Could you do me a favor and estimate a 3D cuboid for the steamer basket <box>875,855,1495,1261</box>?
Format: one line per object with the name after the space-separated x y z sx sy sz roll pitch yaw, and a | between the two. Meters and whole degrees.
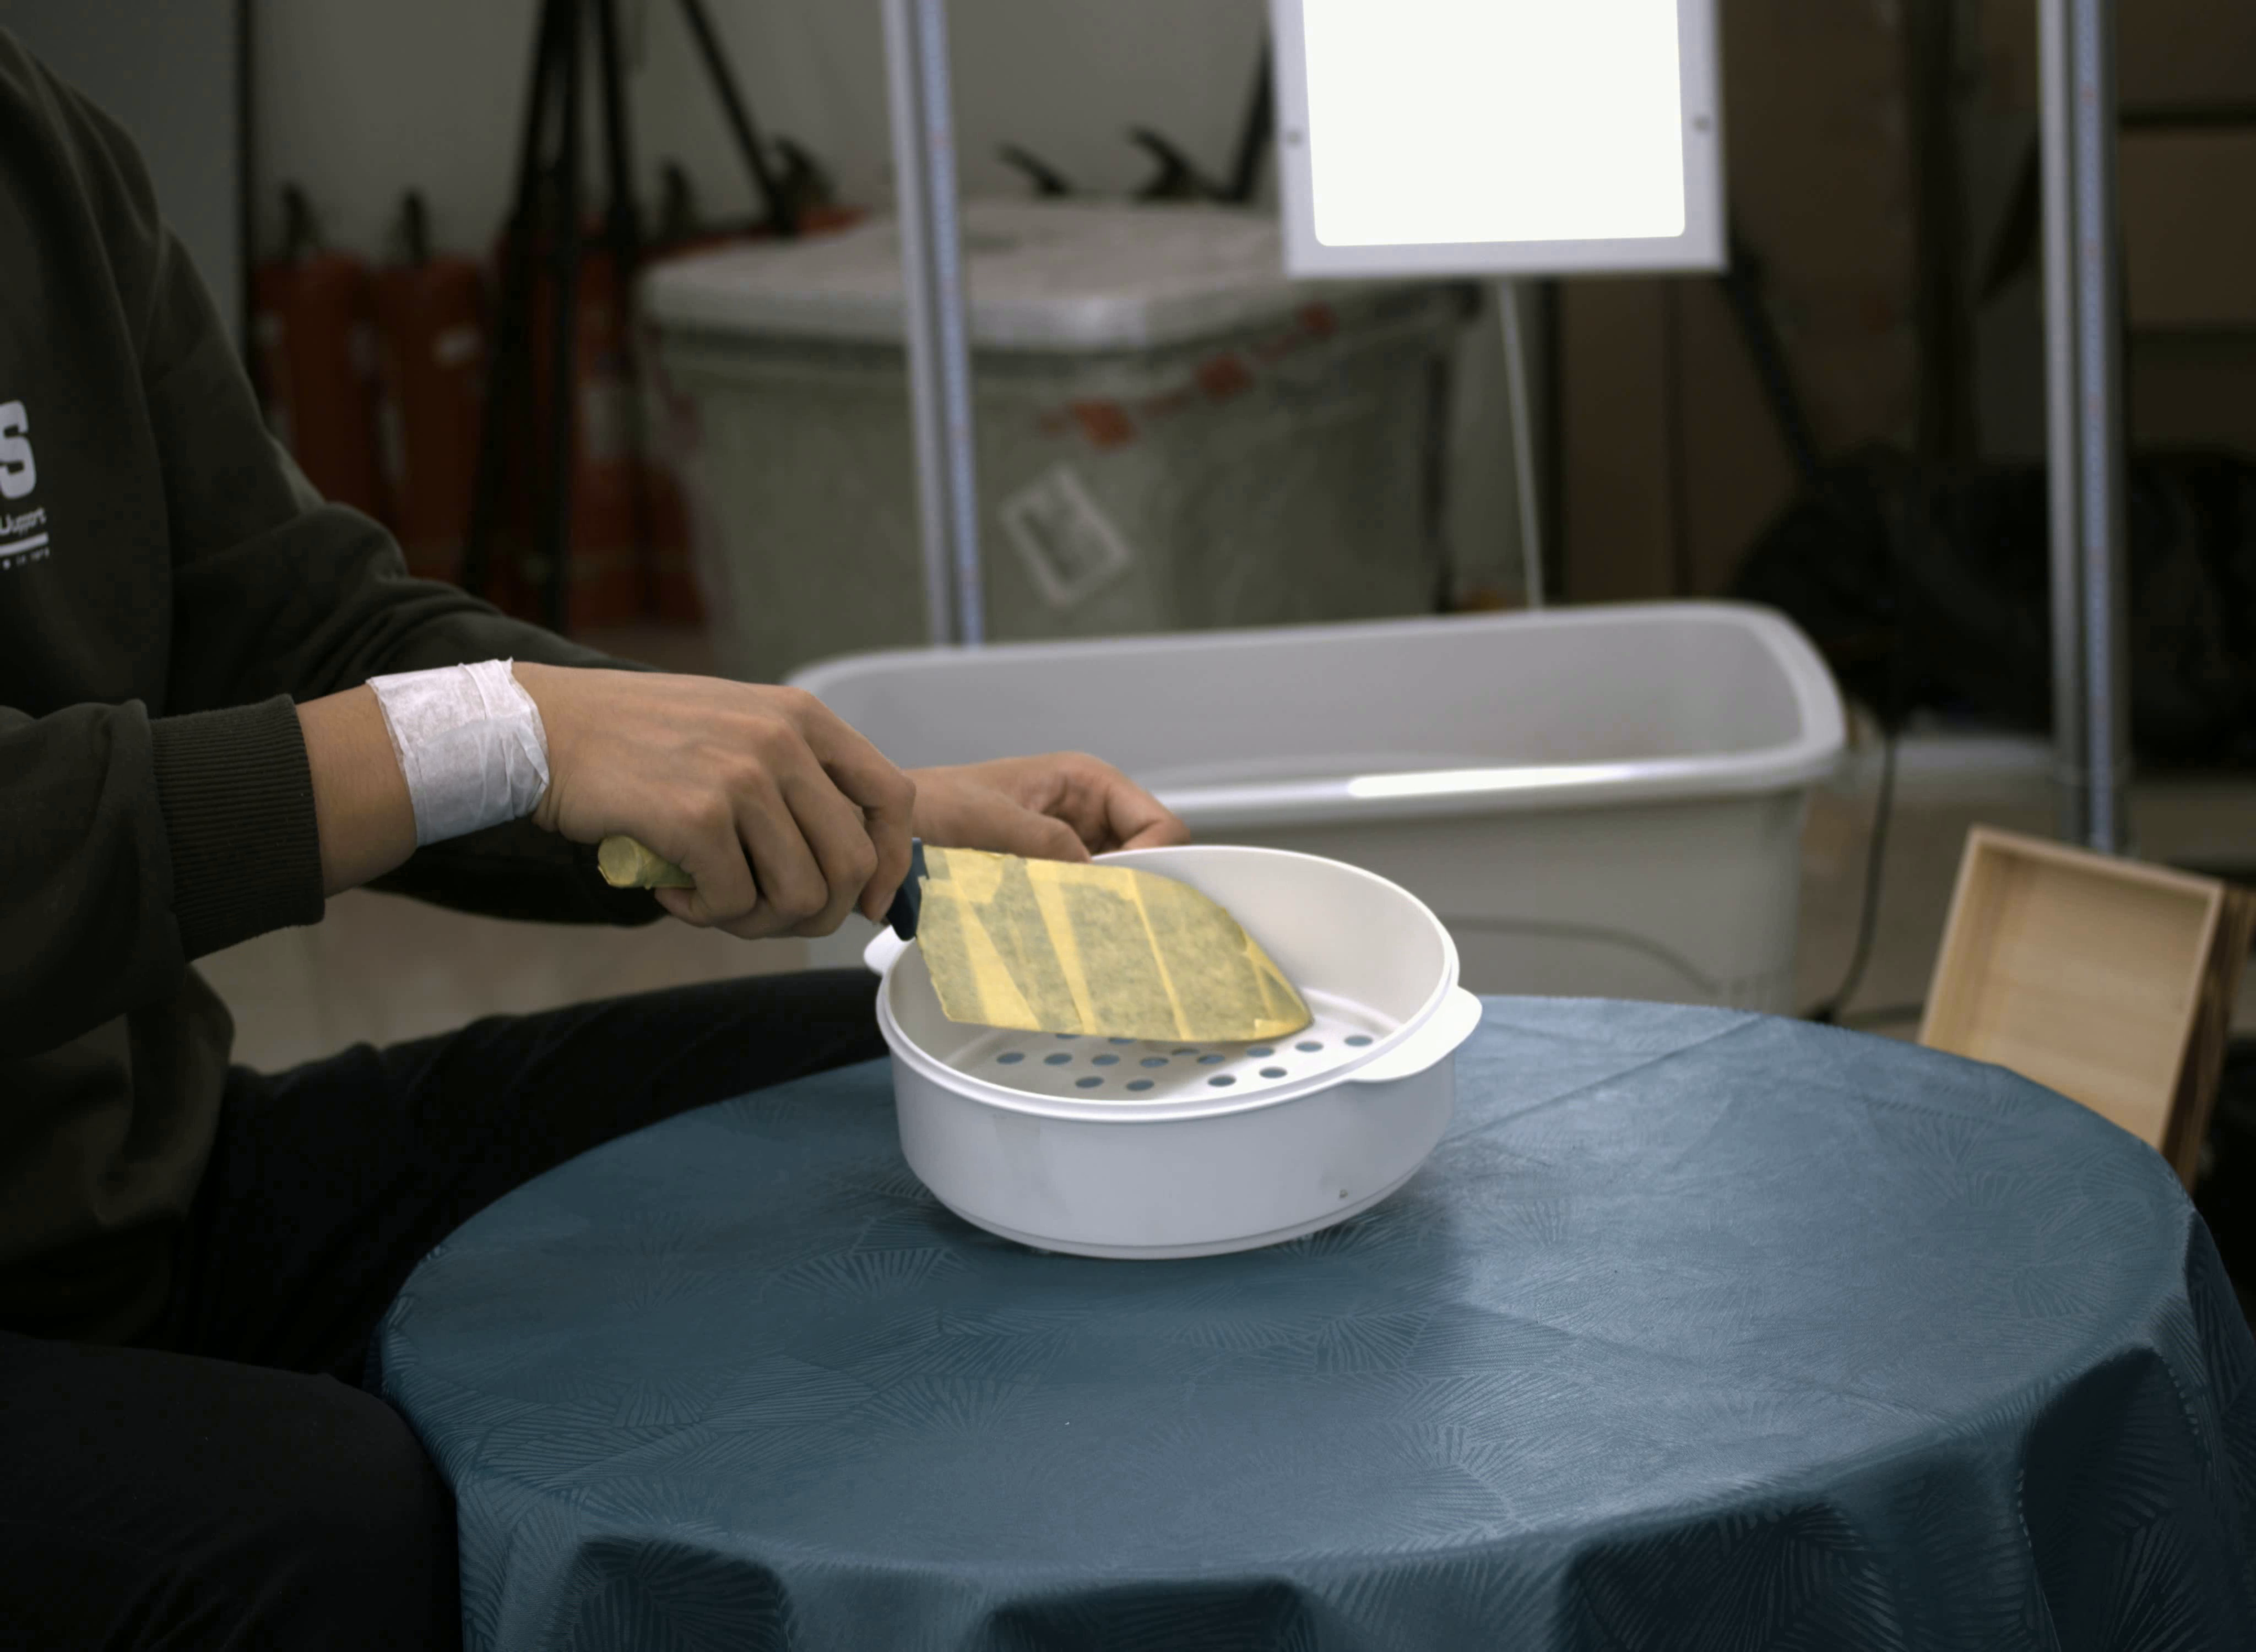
0.020 0.080 1.895 0.235 0.069 0.197 10 29 34 | steamer basket

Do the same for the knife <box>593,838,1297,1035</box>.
-0.055 0.038 1.889 0.282 0.028 0.081 7 48 -34 | knife
